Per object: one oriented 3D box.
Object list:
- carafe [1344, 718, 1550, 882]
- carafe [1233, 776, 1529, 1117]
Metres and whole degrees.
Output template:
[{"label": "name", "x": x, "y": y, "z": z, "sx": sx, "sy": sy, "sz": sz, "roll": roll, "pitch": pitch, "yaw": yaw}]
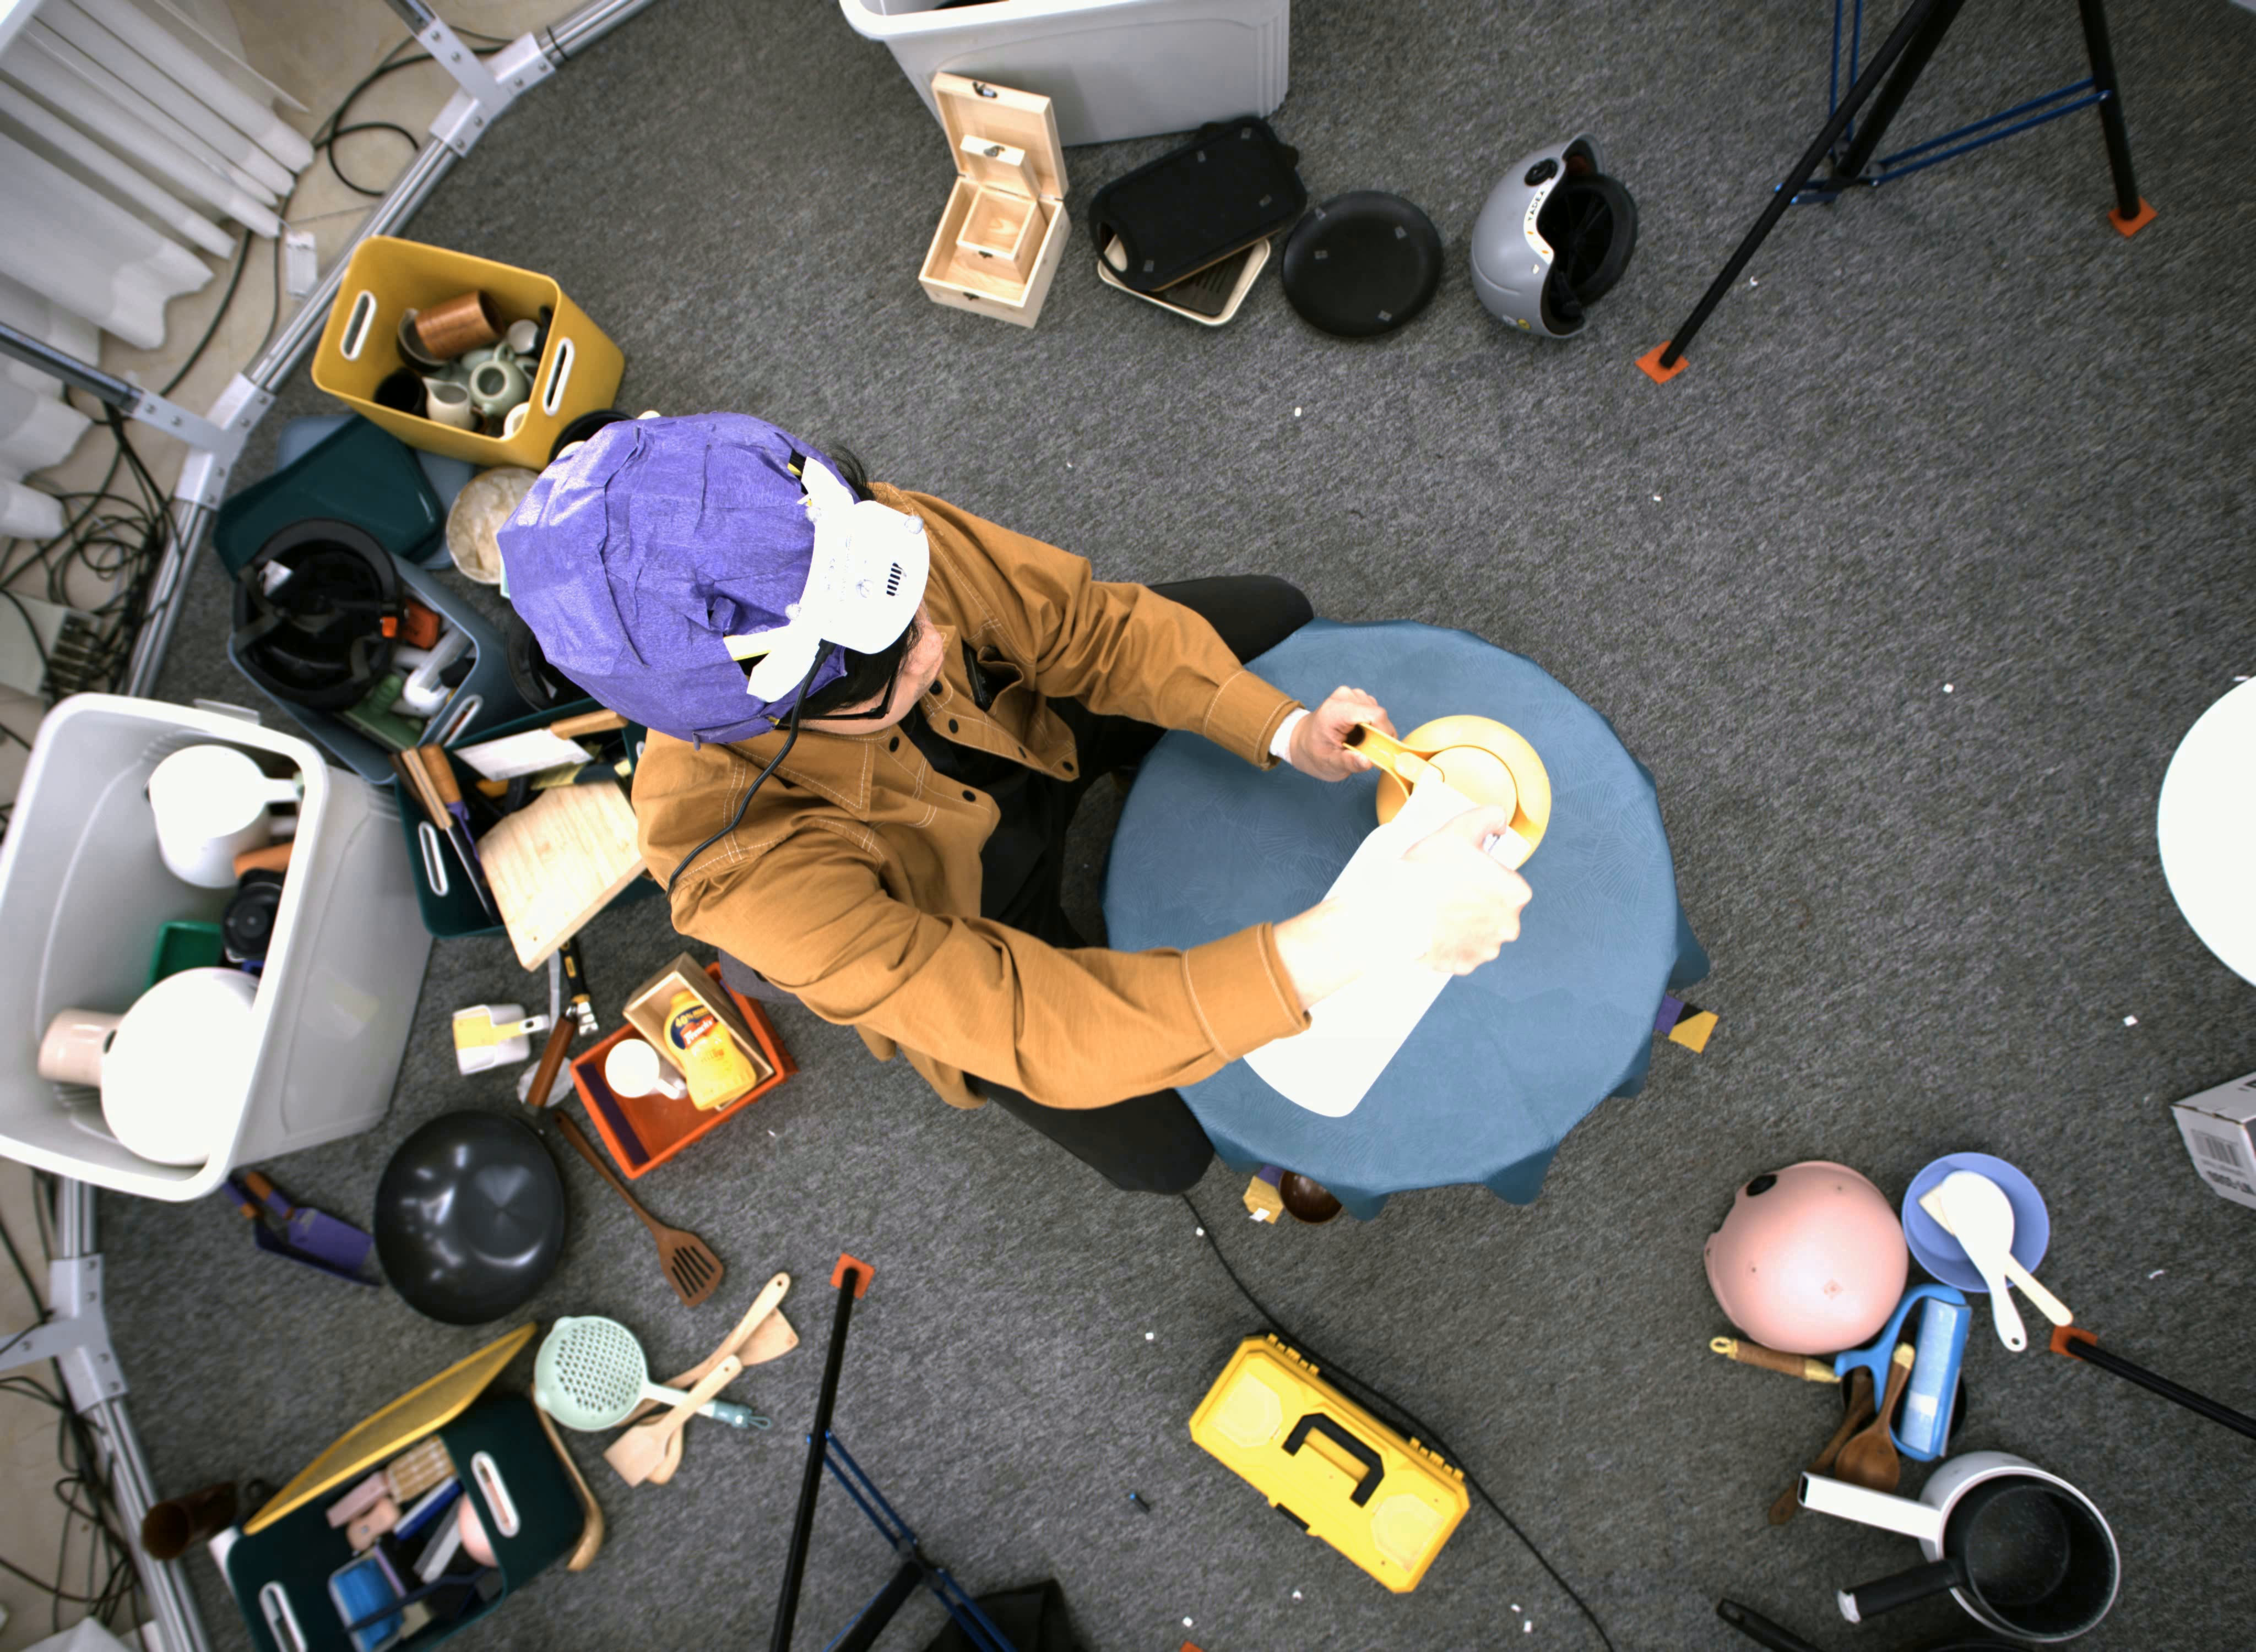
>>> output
[{"label": "carafe", "x": 0.298, "y": -0.034, "z": 1.297, "sx": 0.202, "sy": 0.259, "sz": 0.164, "roll": 35, "pitch": 96, "yaw": 9}, {"label": "carafe", "x": 0.201, "y": 0.100, "z": 1.086, "sx": 0.124, "sy": 0.170, "sz": 0.272, "roll": 34, "pitch": 105, "yaw": -4}]
